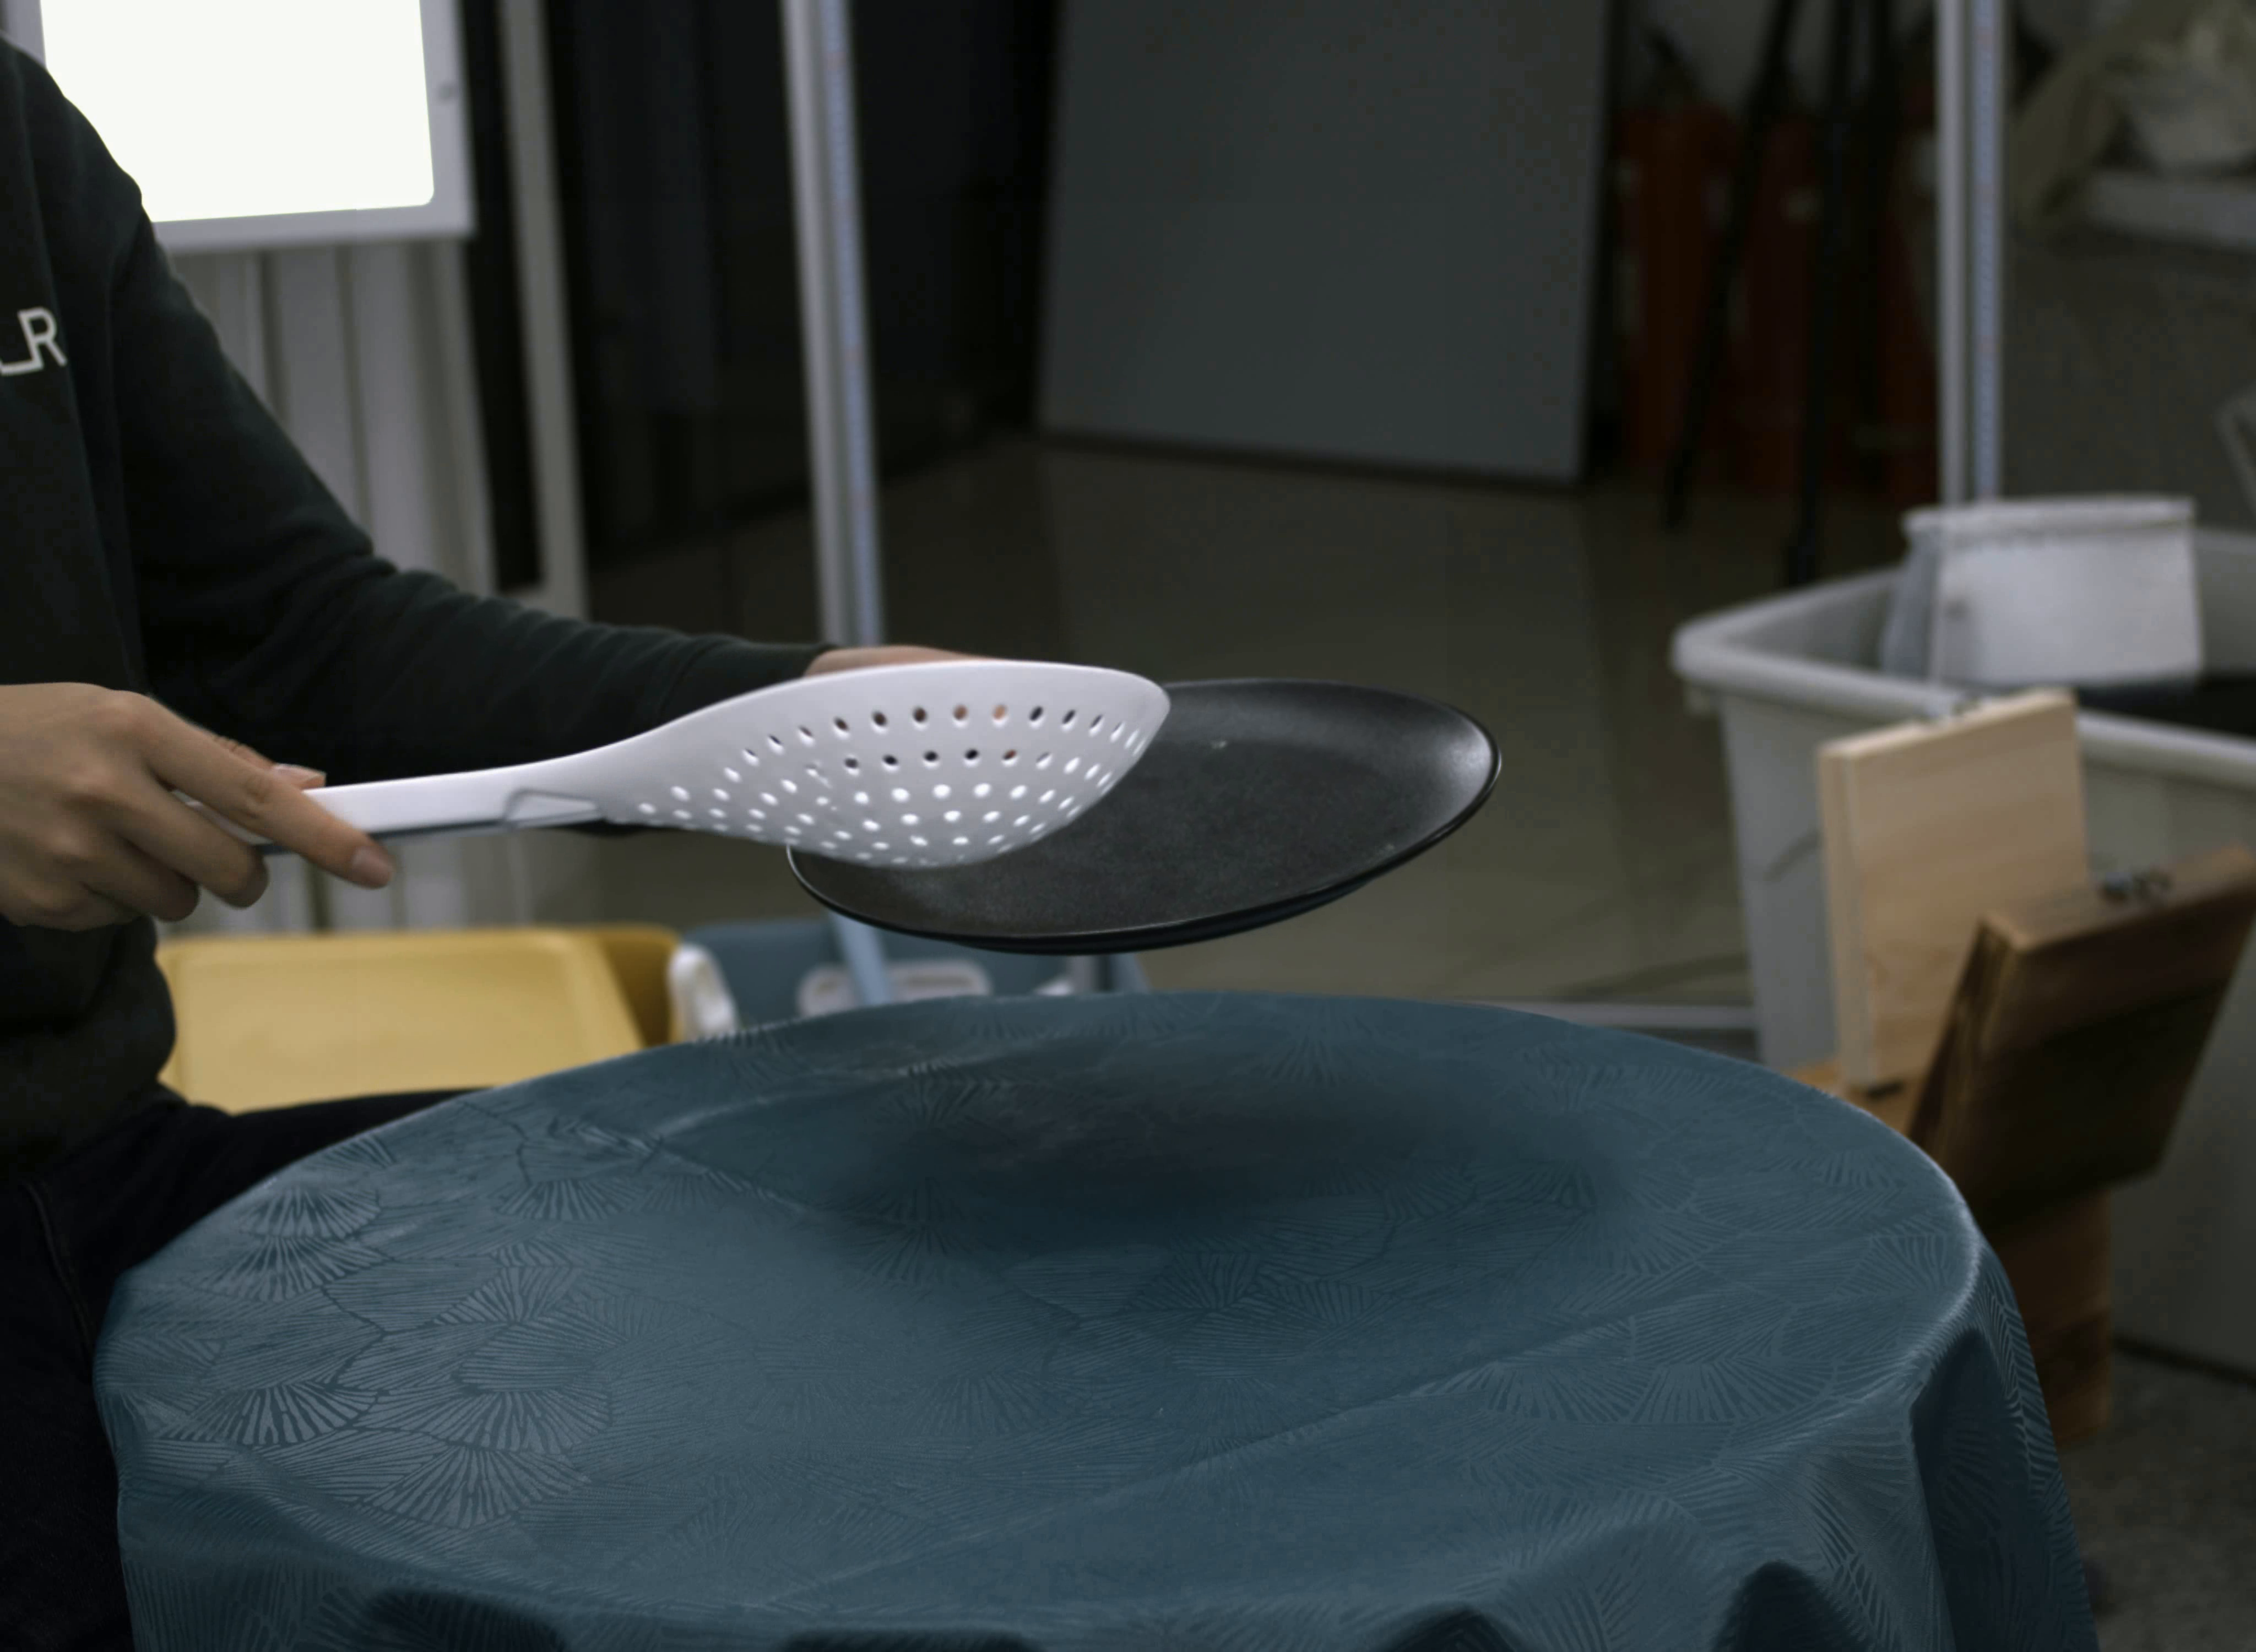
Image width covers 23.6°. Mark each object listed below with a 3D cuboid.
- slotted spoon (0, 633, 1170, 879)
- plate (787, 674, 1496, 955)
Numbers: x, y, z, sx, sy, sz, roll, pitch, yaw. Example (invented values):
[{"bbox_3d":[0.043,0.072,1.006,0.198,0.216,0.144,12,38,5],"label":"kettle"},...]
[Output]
[{"bbox_3d":[-0.159,-0.015,1.512,0.347,0.046,0.135,-2,-11,12],"label":"slotted spoon"},{"bbox_3d":[0.006,-0.001,1.809,0.241,0.023,0.245,-8,19,2],"label":"plate"}]
